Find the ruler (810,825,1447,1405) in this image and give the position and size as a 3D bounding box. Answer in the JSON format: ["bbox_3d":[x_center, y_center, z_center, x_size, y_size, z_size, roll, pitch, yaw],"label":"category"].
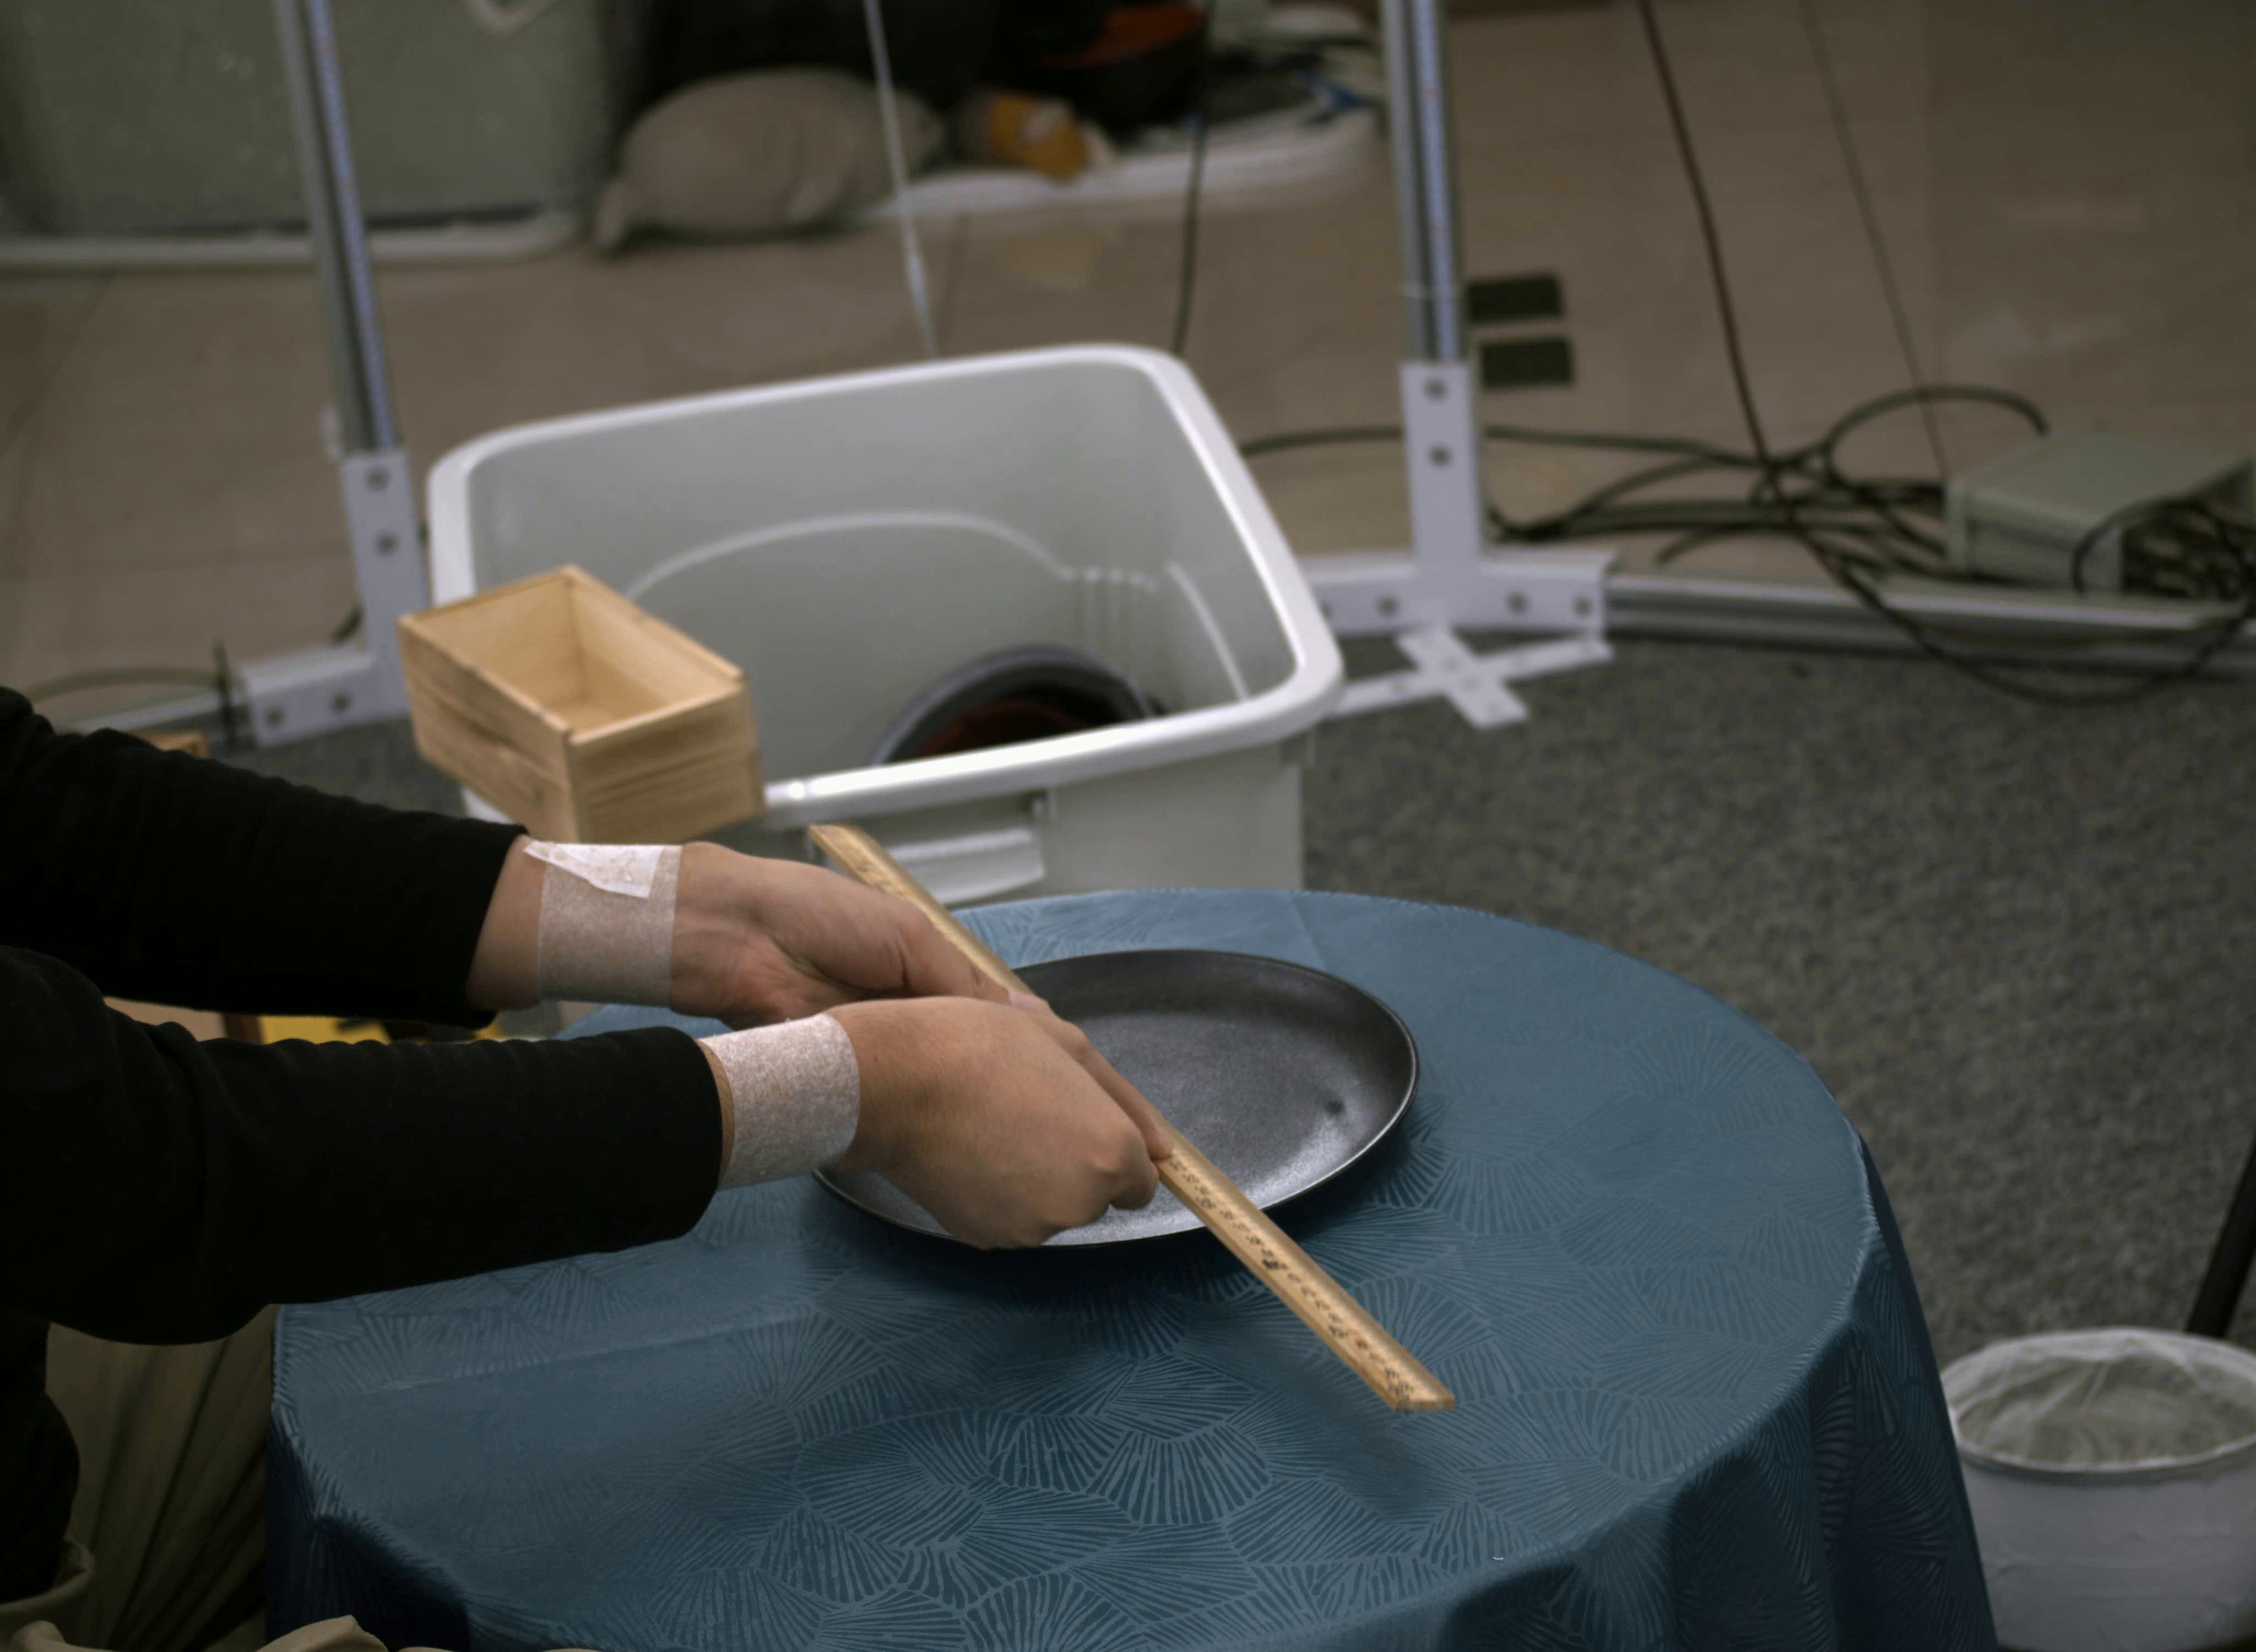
[{"bbox_3d":[-0.012,0.098,2.122,0.027,0.006,0.494,1,23,-29],"label":"ruler"}]

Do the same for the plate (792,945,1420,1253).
[{"bbox_3d":[-0.008,0.110,2.184,0.244,0.024,0.241,-6,25,3],"label":"plate"}]
